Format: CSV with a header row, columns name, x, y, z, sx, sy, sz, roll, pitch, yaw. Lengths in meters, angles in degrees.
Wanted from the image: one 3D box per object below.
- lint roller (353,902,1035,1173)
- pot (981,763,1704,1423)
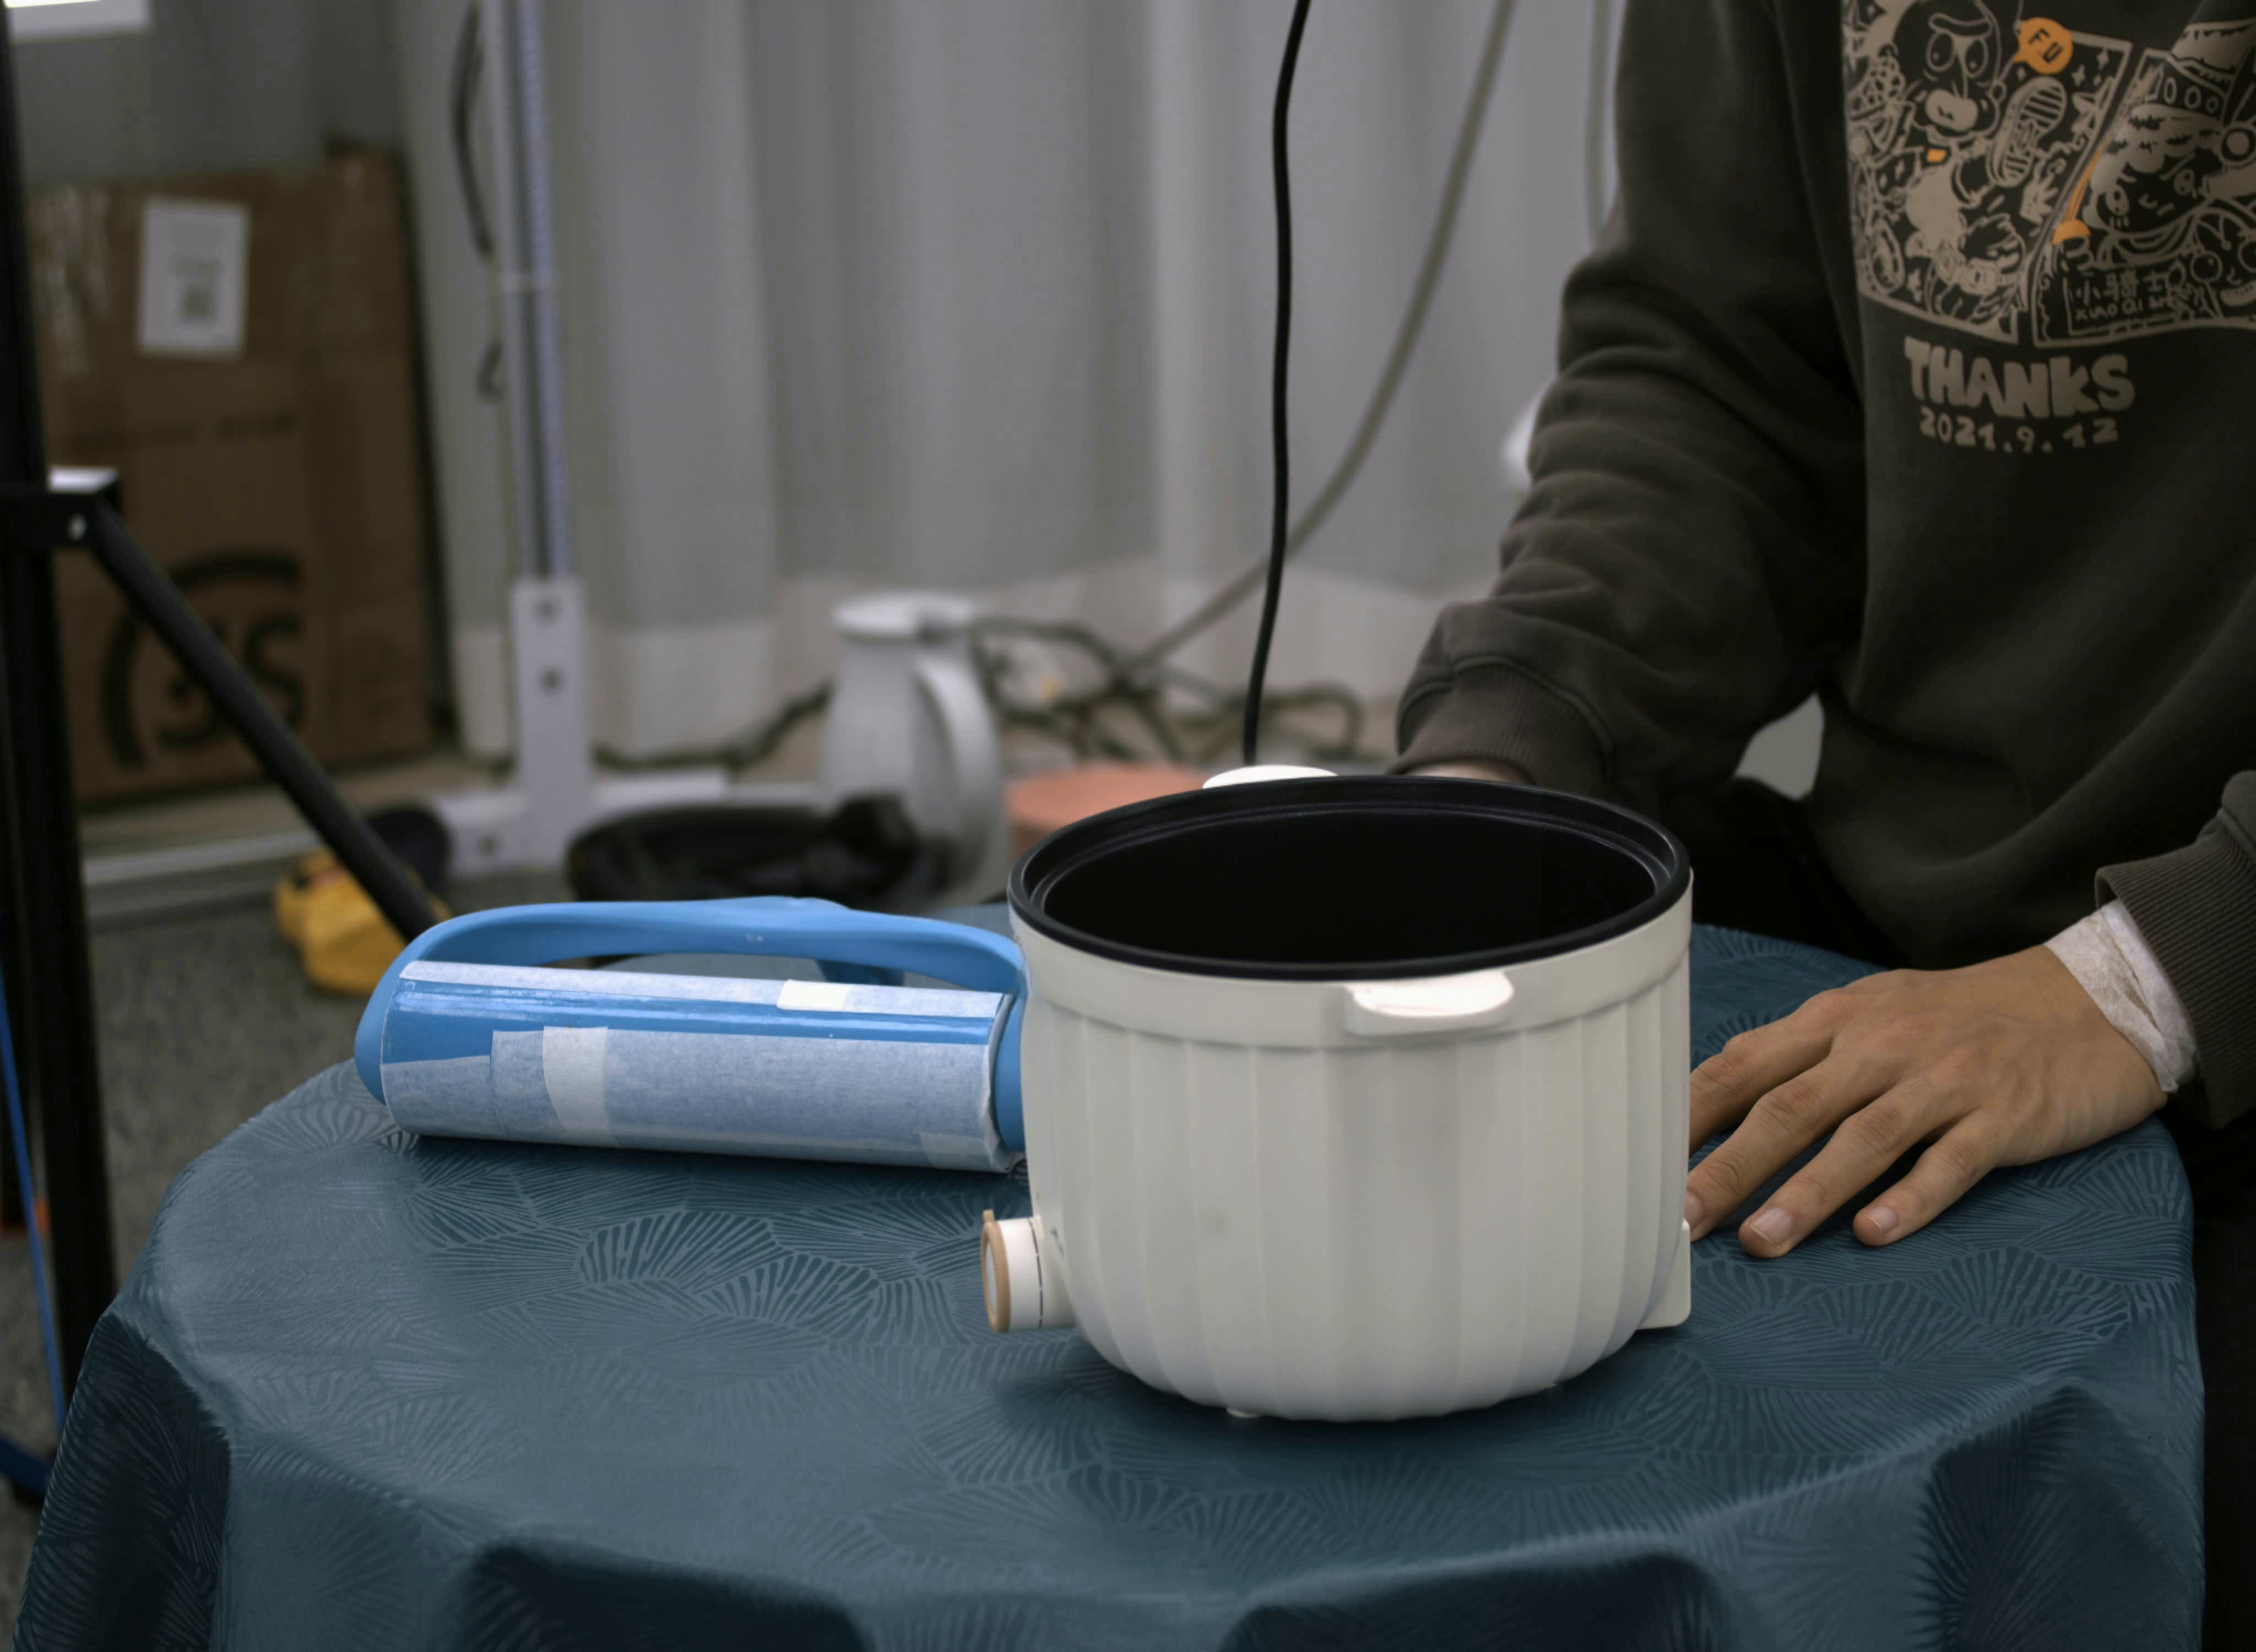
name,x,y,z,sx,sy,sz,roll,pitch,yaw
lint roller,-0.113,0.054,1.667,0.231,0.068,0.179,1,17,16
pot,0.057,0.075,1.415,0.188,0.143,0.243,-2,14,-10
